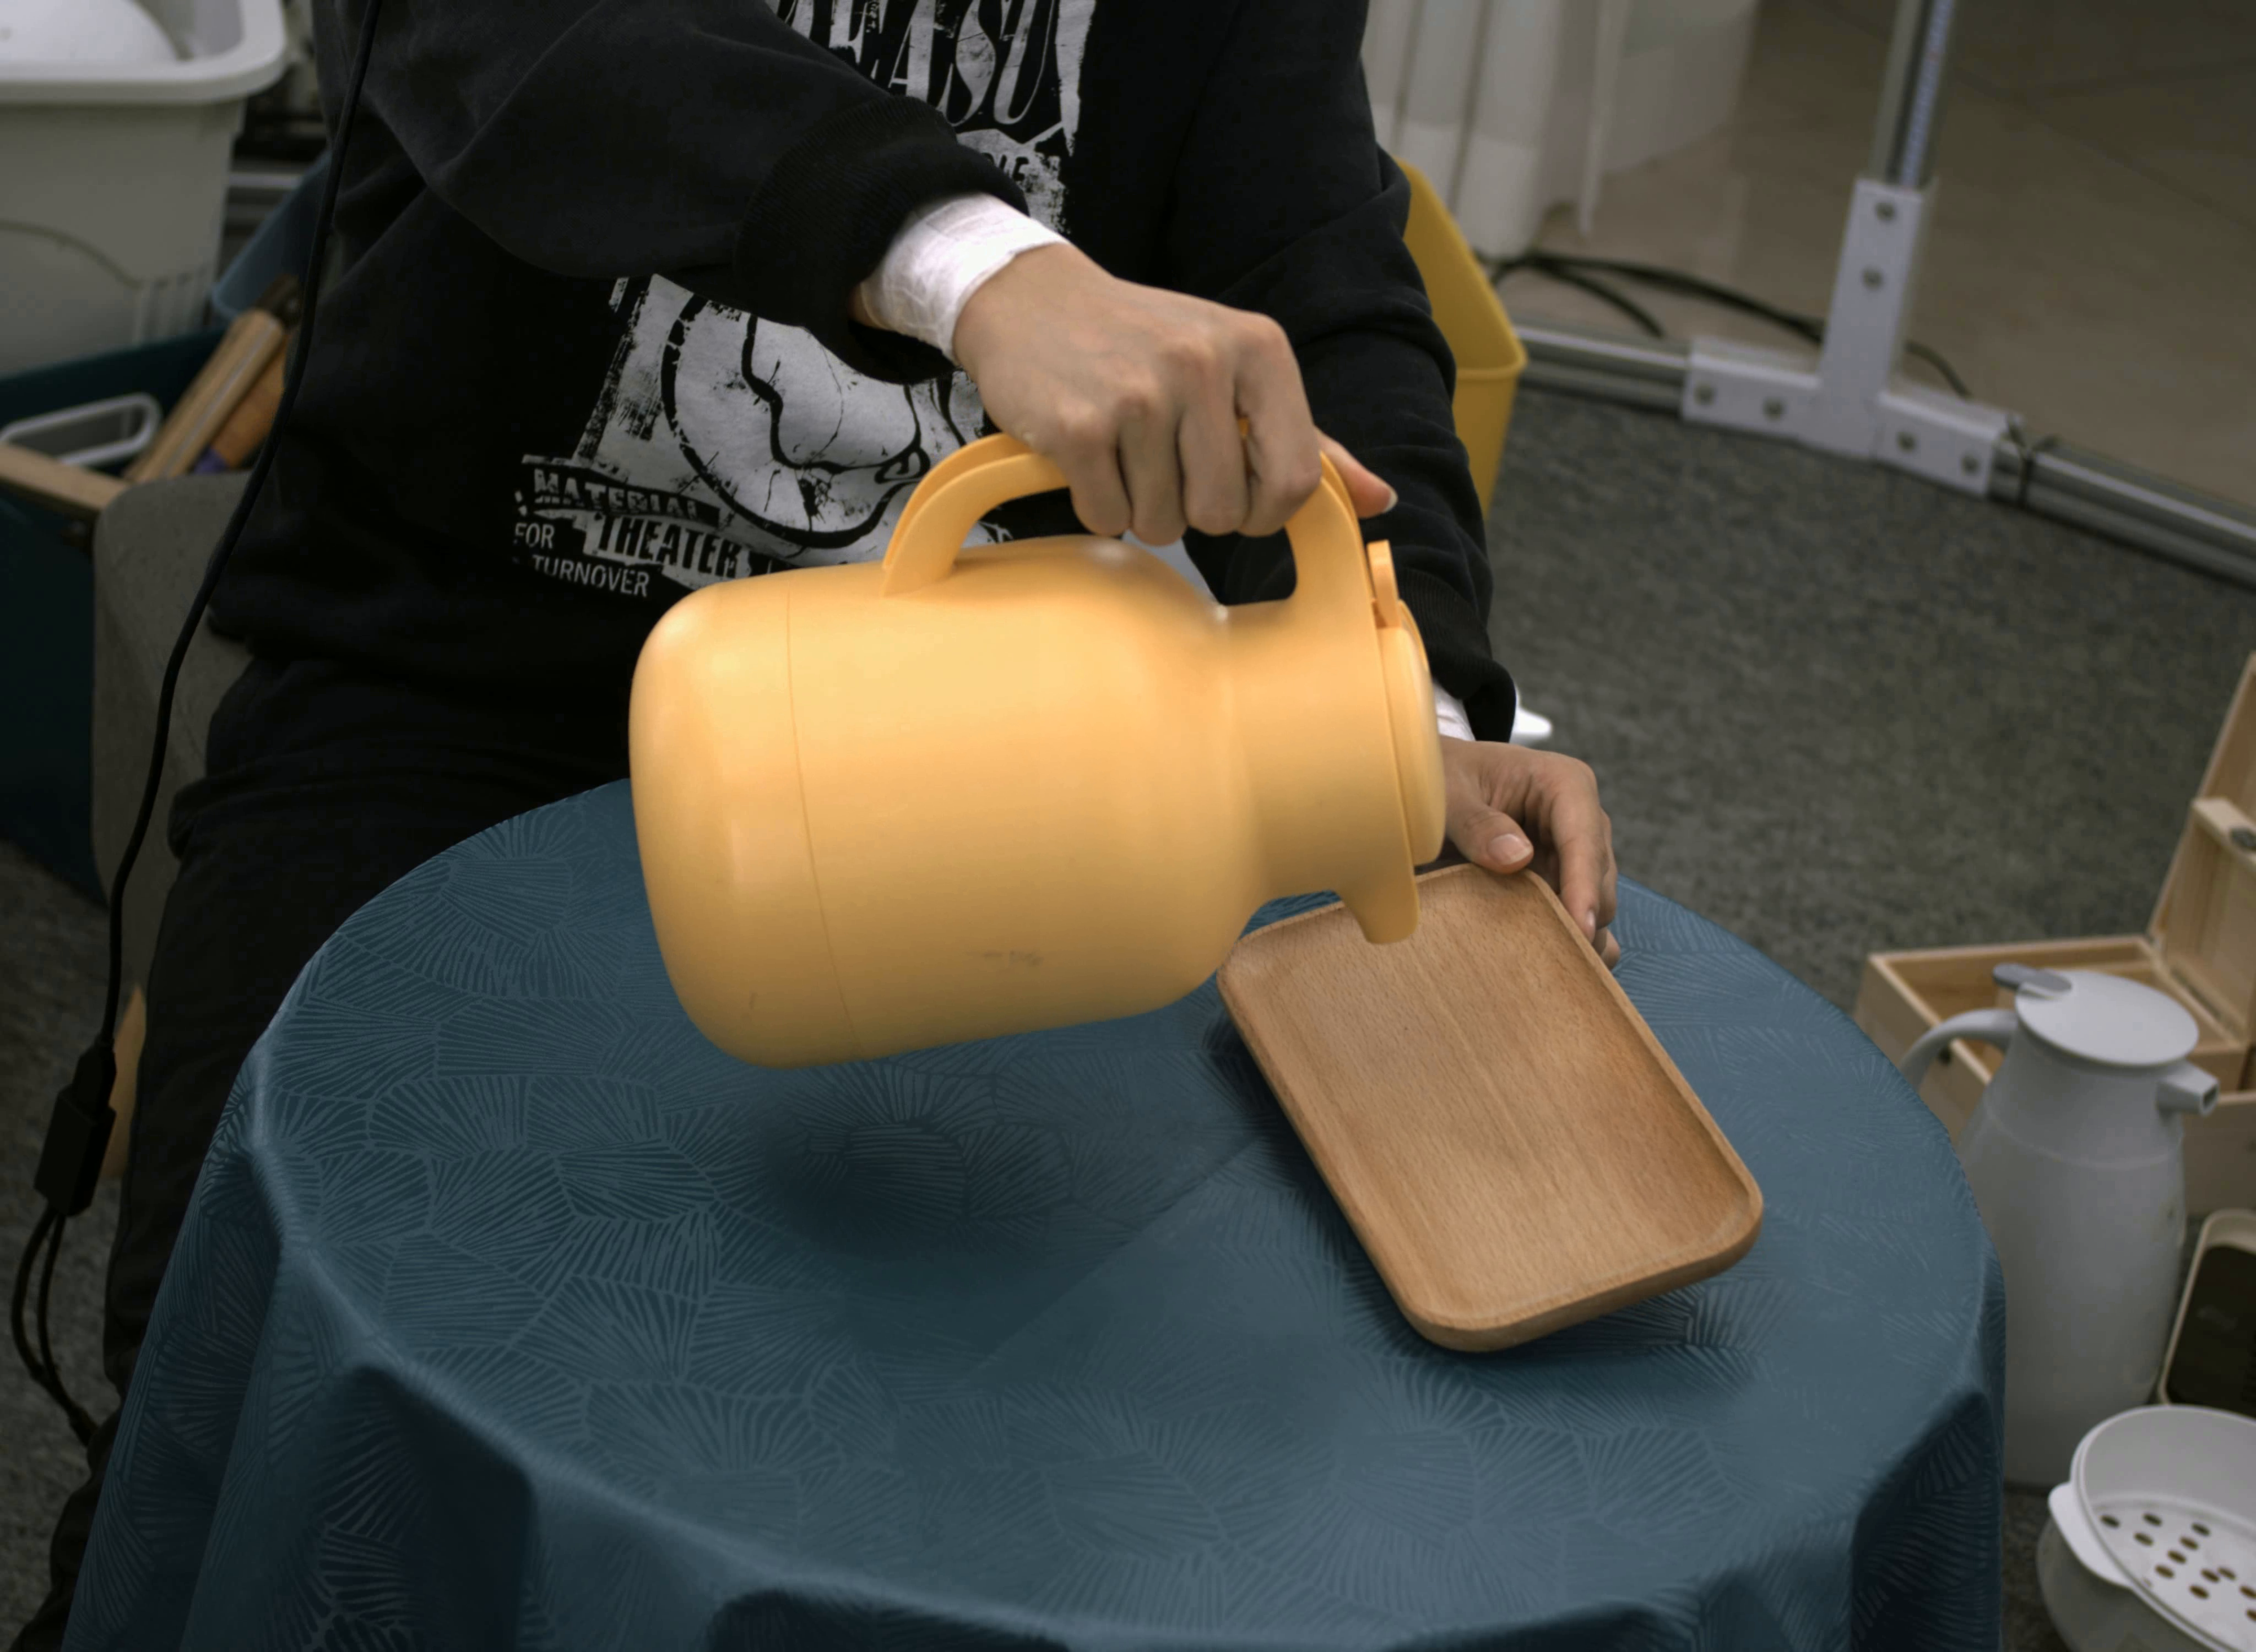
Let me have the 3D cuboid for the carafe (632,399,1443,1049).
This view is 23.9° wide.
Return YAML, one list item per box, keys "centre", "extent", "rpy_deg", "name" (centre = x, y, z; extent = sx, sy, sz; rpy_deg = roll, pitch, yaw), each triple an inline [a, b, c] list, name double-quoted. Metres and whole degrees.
- centre: [-0.030, -0.036, 1.740]
  extent: [0.260, 0.202, 0.164]
  rpy_deg: [-7, 21, 2]
  name: "carafe"

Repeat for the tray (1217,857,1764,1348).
- centre: [0.121, 0.092, 1.830]
  extent: [0.130, 0.023, 0.253]
  rpy_deg: [-15, 33, -9]
  name: "tray"
